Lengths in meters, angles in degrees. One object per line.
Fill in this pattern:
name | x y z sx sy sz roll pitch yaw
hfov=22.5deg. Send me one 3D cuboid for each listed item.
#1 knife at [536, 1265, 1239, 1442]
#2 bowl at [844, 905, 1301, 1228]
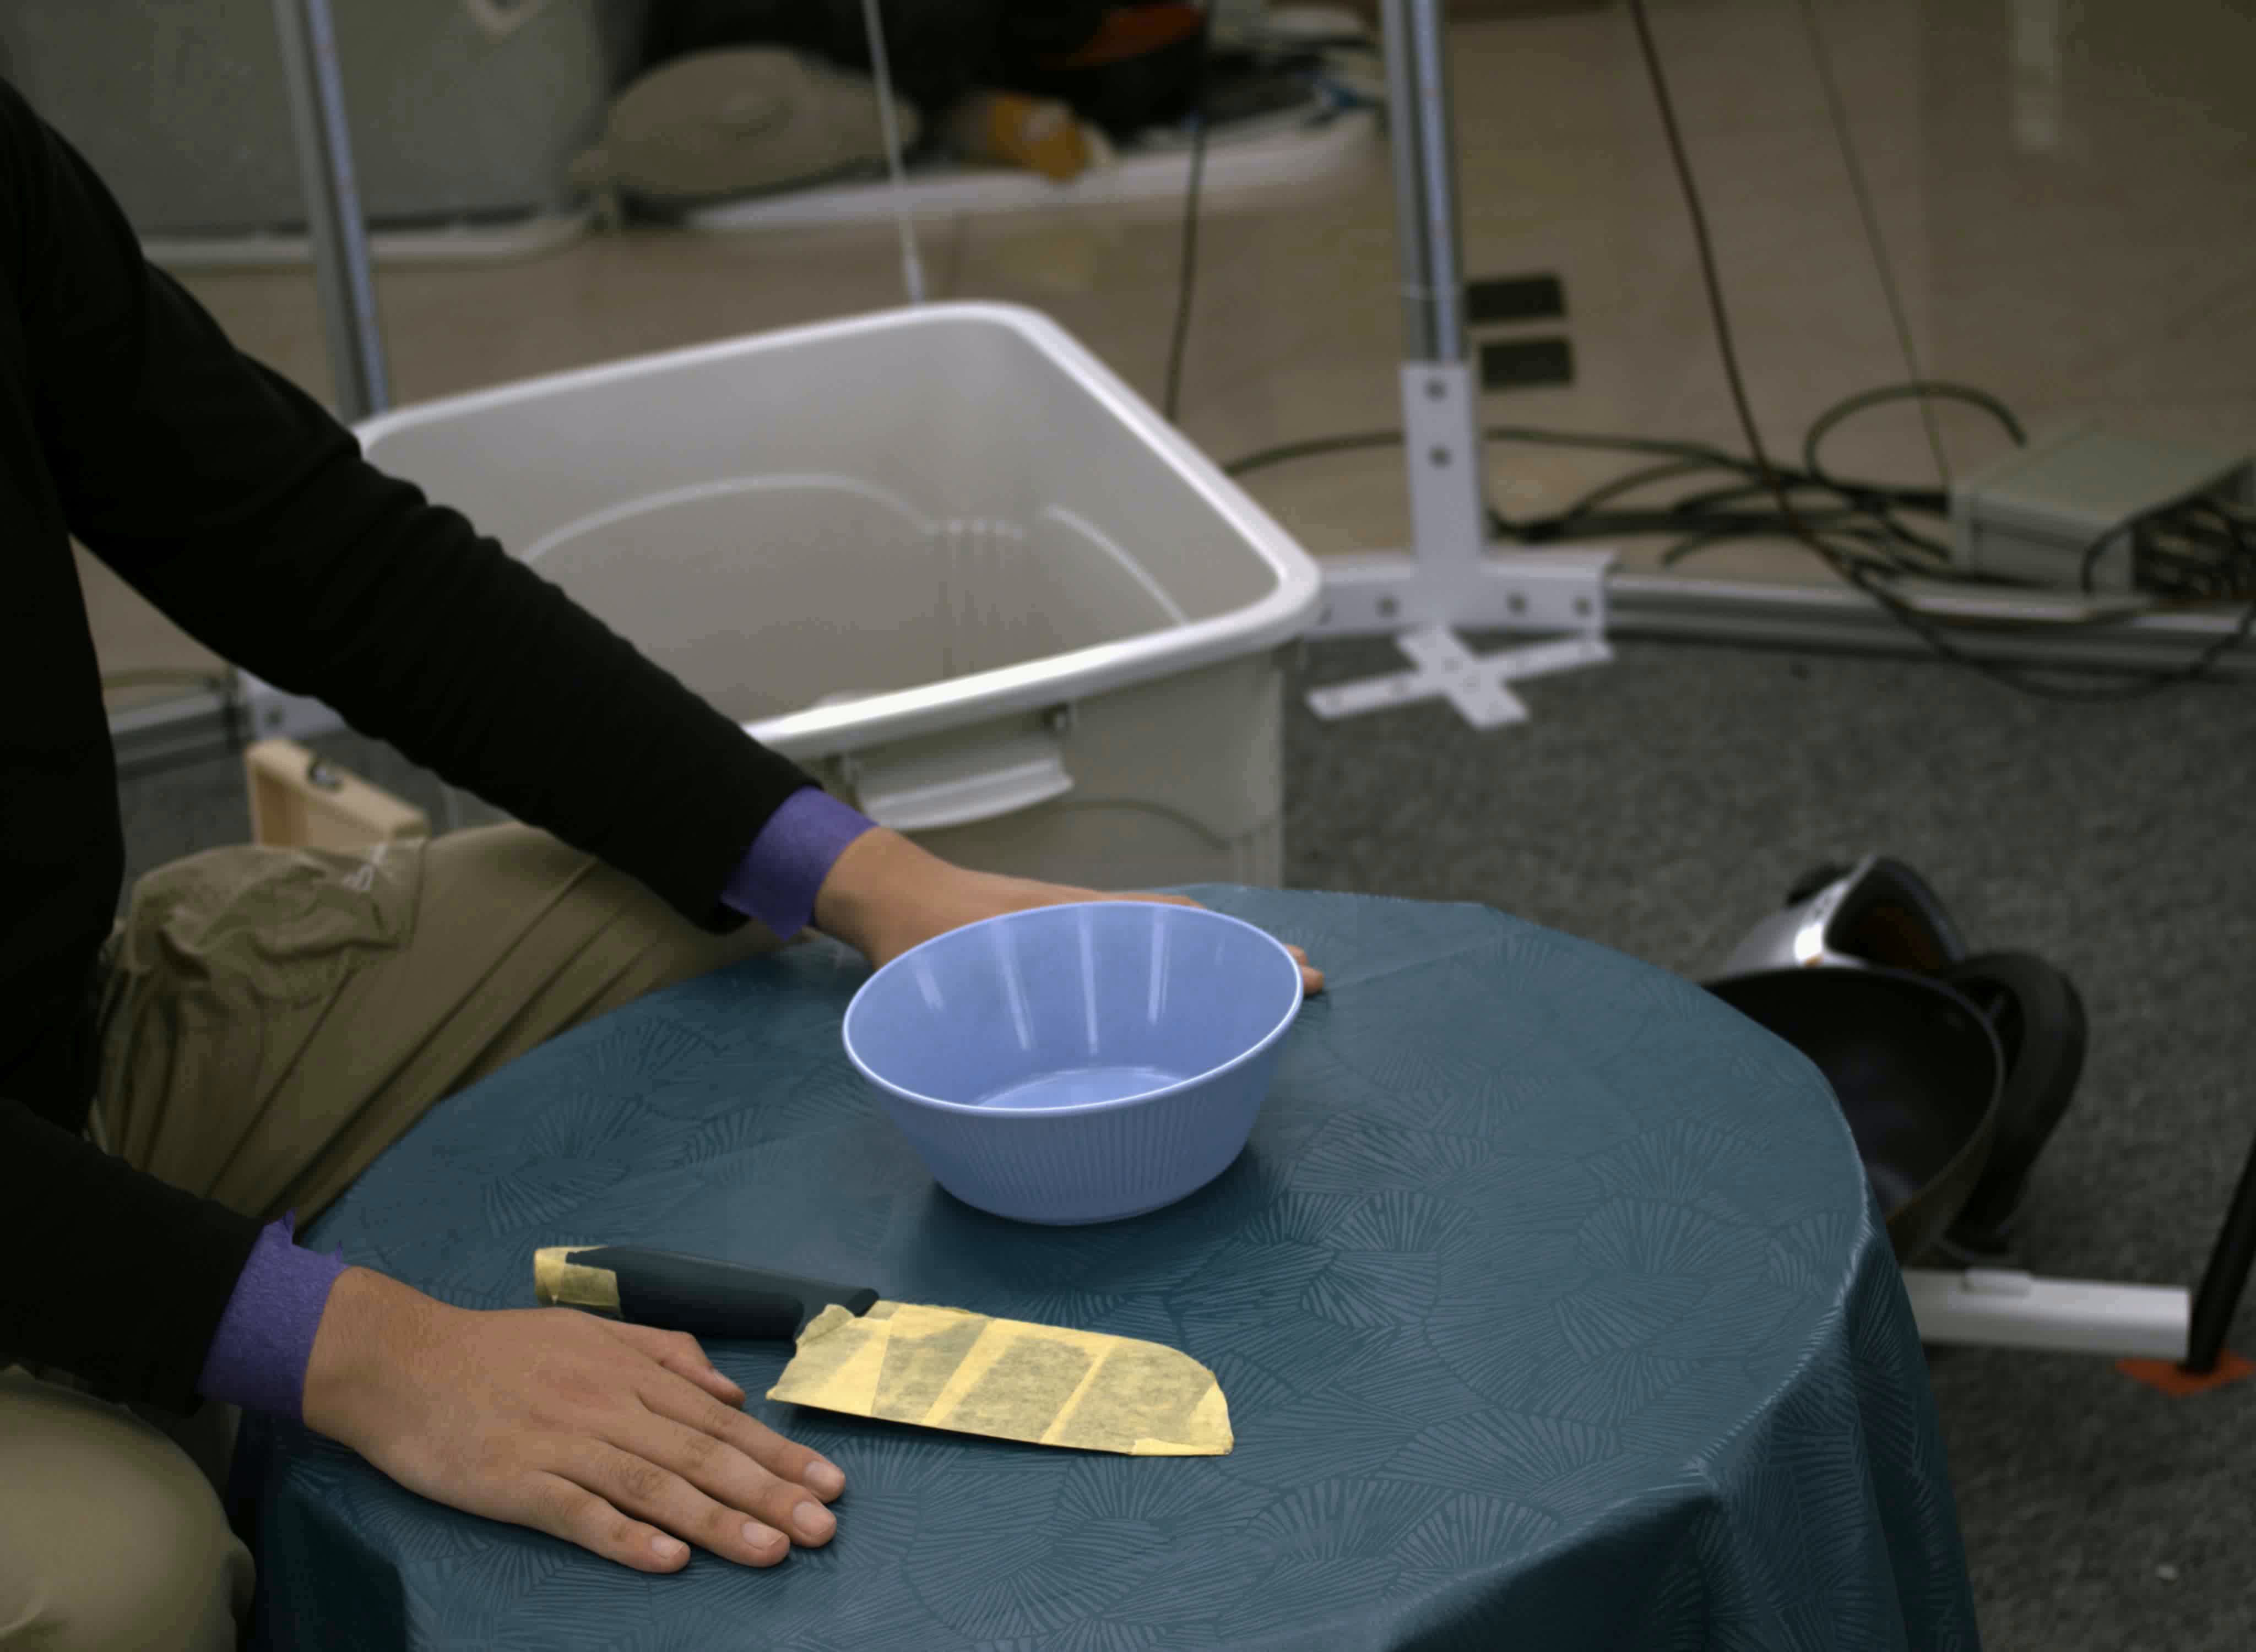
knife | -0.093 0.191 2.044 0.288 0.027 0.080 6 26 24
bowl | -0.018 0.097 2.162 0.176 0.071 0.173 -5 26 3
